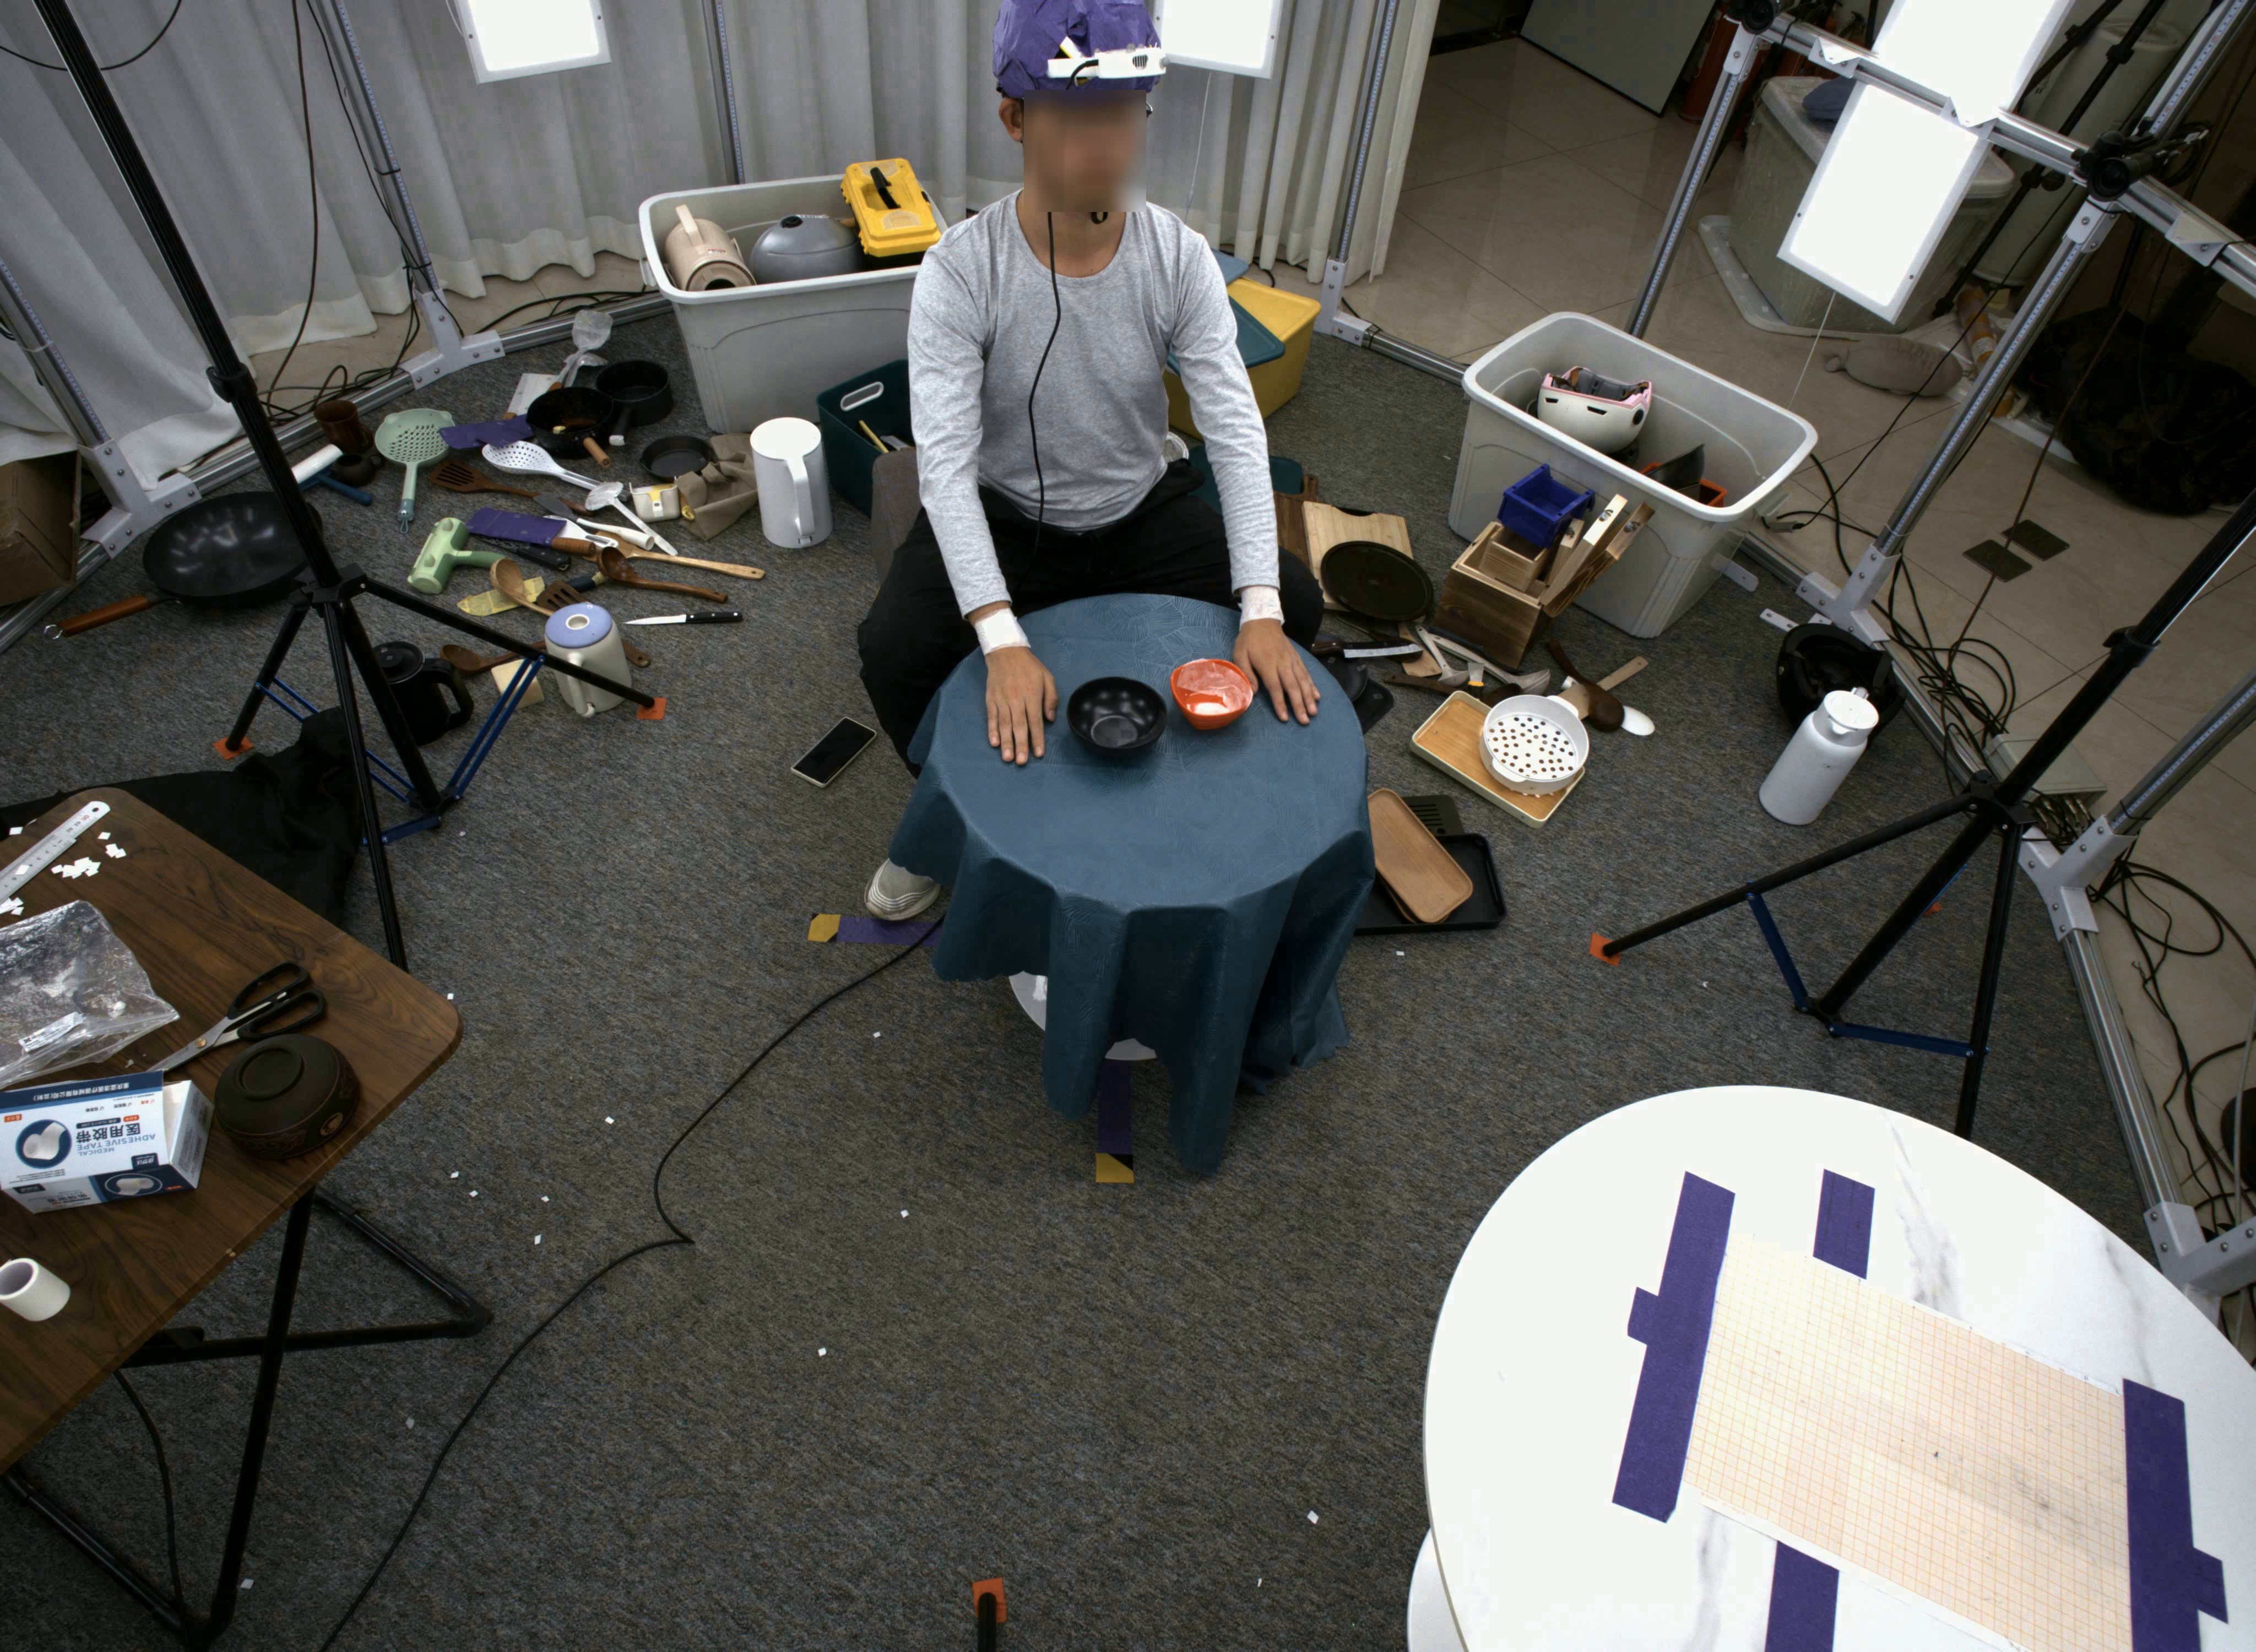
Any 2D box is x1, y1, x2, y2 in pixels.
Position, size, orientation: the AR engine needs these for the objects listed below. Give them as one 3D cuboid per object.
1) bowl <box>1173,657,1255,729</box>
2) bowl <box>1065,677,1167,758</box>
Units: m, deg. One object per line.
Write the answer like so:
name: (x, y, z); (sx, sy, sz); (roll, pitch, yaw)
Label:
bowl: (0.118, -0.179, 1.795); (0.119, 0.050, 0.122); (2, 53, -2)
bowl: (-0.018, -0.140, 1.757); (0.140, 0.048, 0.143); (2, 48, -3)
